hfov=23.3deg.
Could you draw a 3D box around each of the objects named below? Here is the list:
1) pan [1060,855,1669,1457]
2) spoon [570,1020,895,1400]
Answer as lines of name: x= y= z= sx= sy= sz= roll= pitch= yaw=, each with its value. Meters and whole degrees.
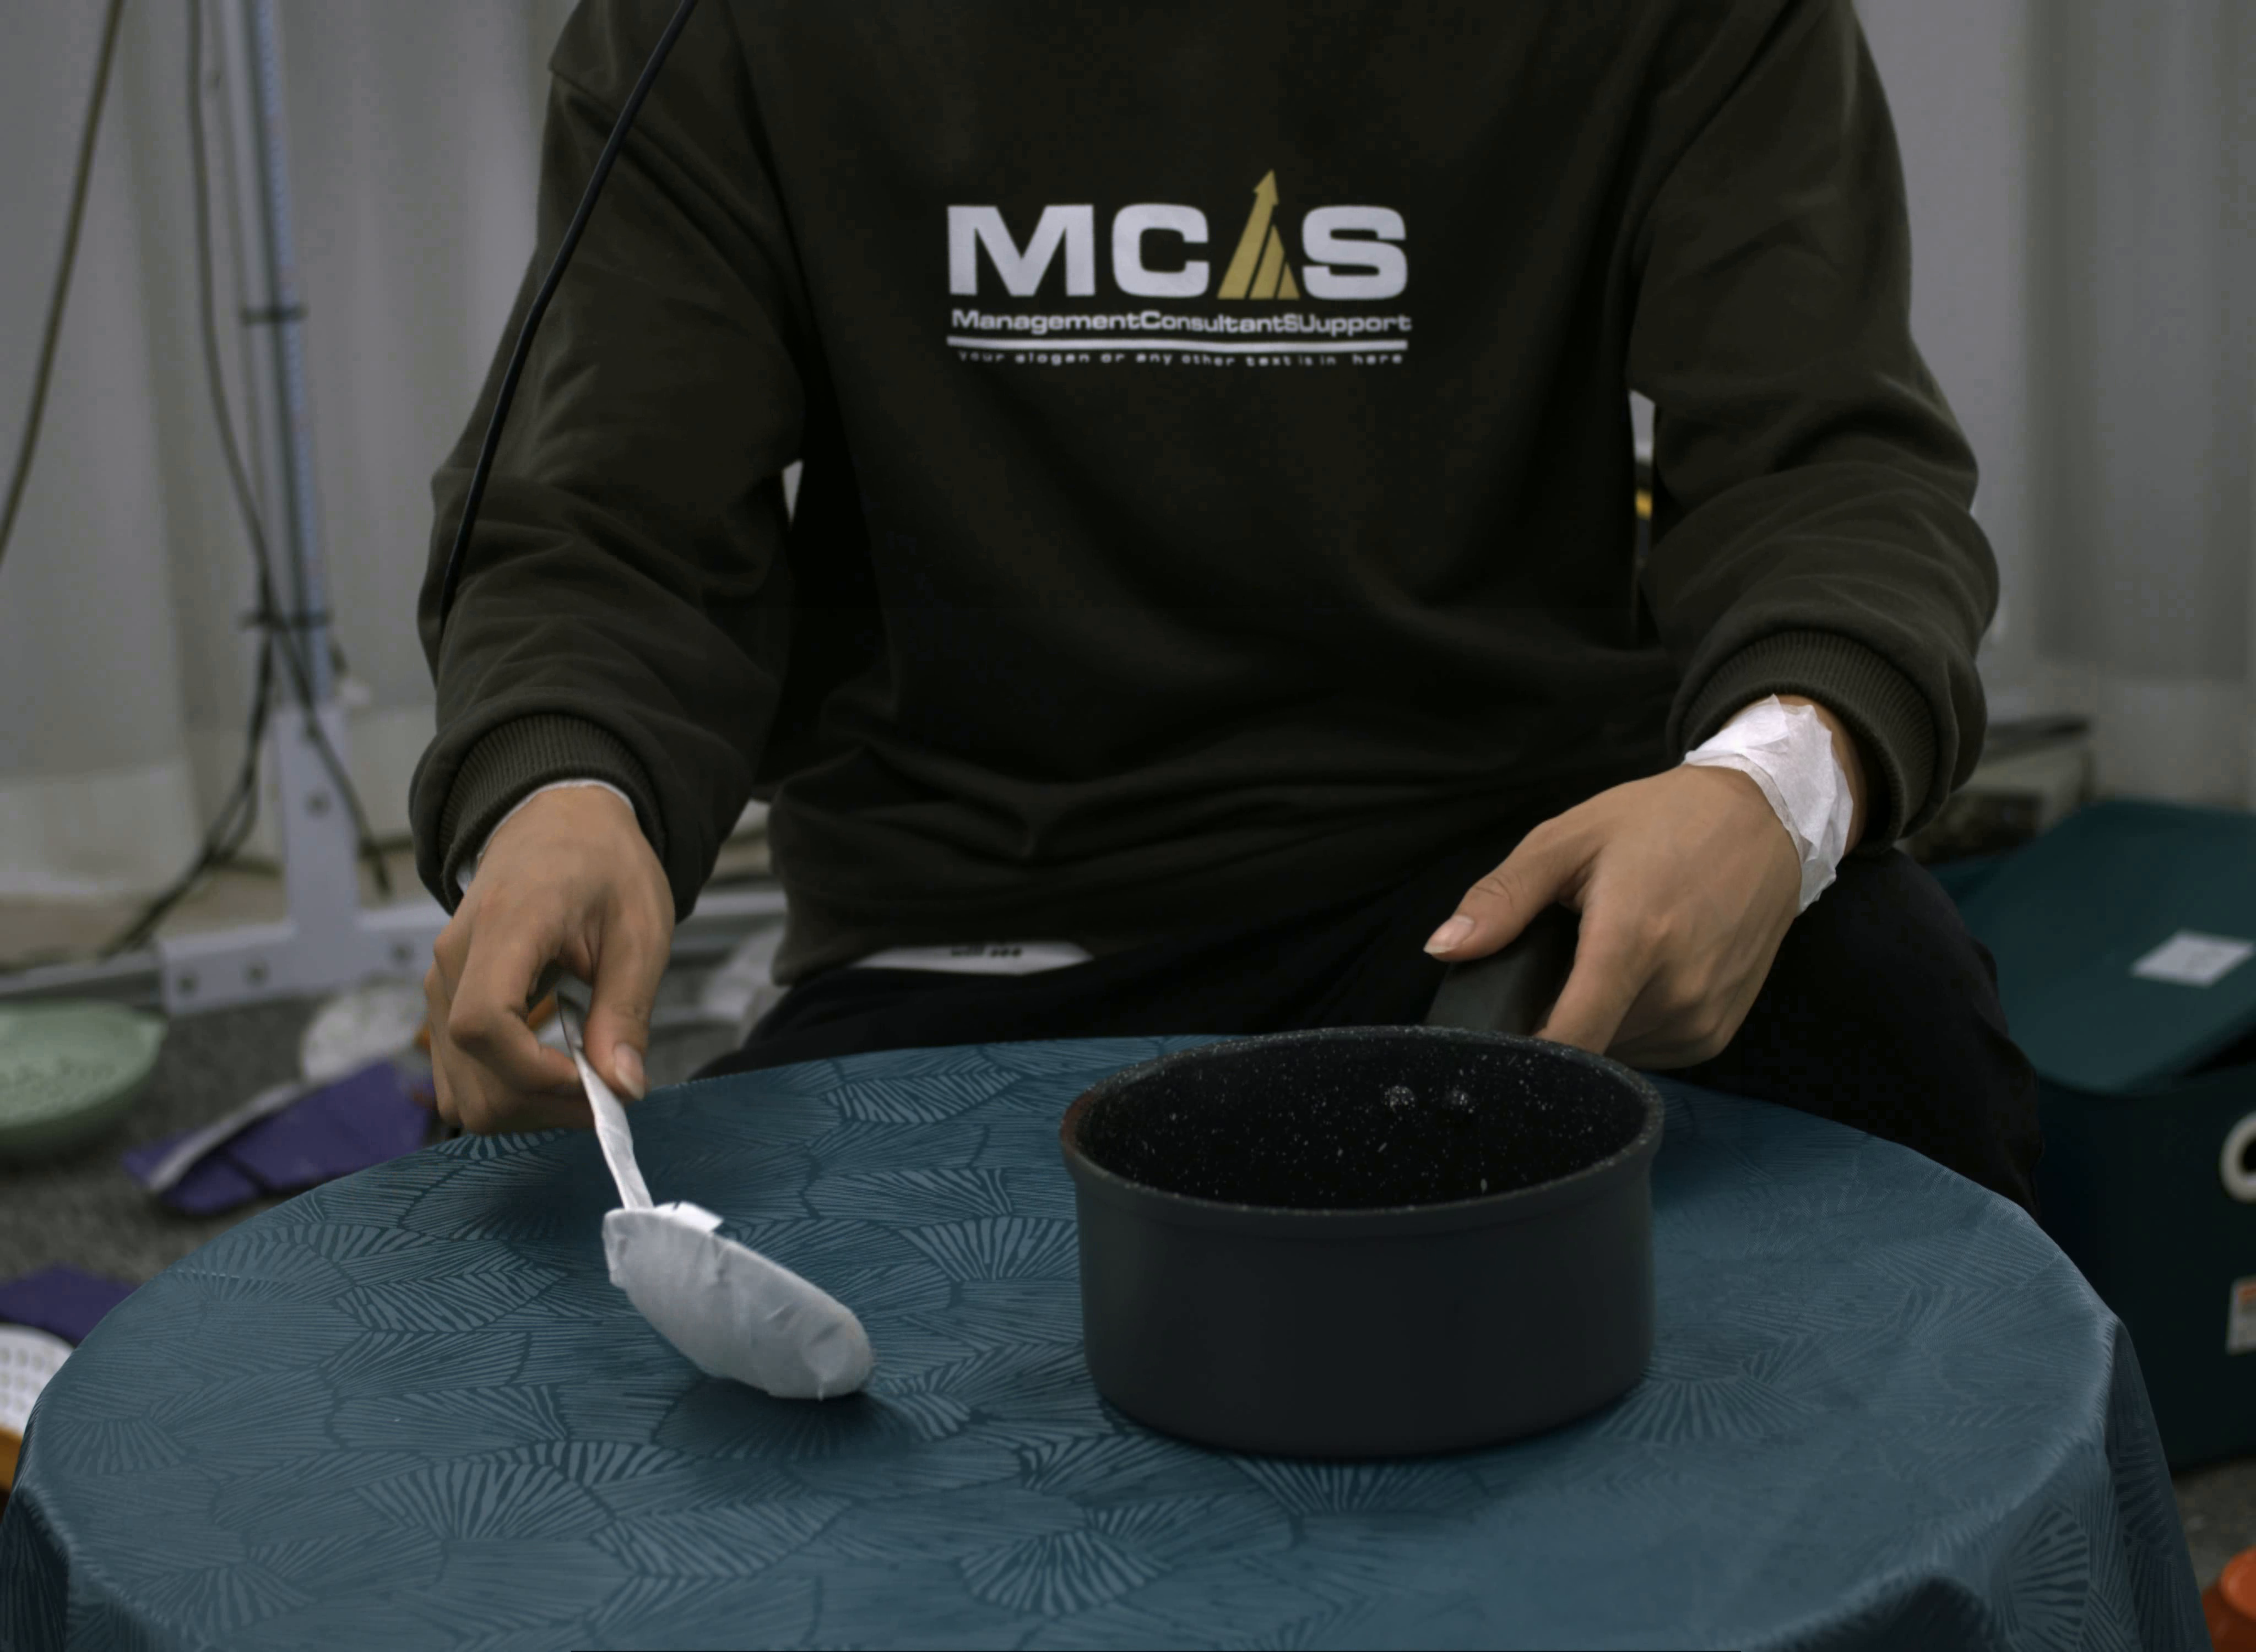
pan: x=0.094 y=0.094 z=1.618 sx=0.172 sy=0.086 sz=0.330 roll=4 pitch=17 yaw=20
spoon: x=-0.124 y=0.099 z=1.625 sx=0.059 sy=0.100 sz=0.280 roll=-44 pitch=22 yaw=6
